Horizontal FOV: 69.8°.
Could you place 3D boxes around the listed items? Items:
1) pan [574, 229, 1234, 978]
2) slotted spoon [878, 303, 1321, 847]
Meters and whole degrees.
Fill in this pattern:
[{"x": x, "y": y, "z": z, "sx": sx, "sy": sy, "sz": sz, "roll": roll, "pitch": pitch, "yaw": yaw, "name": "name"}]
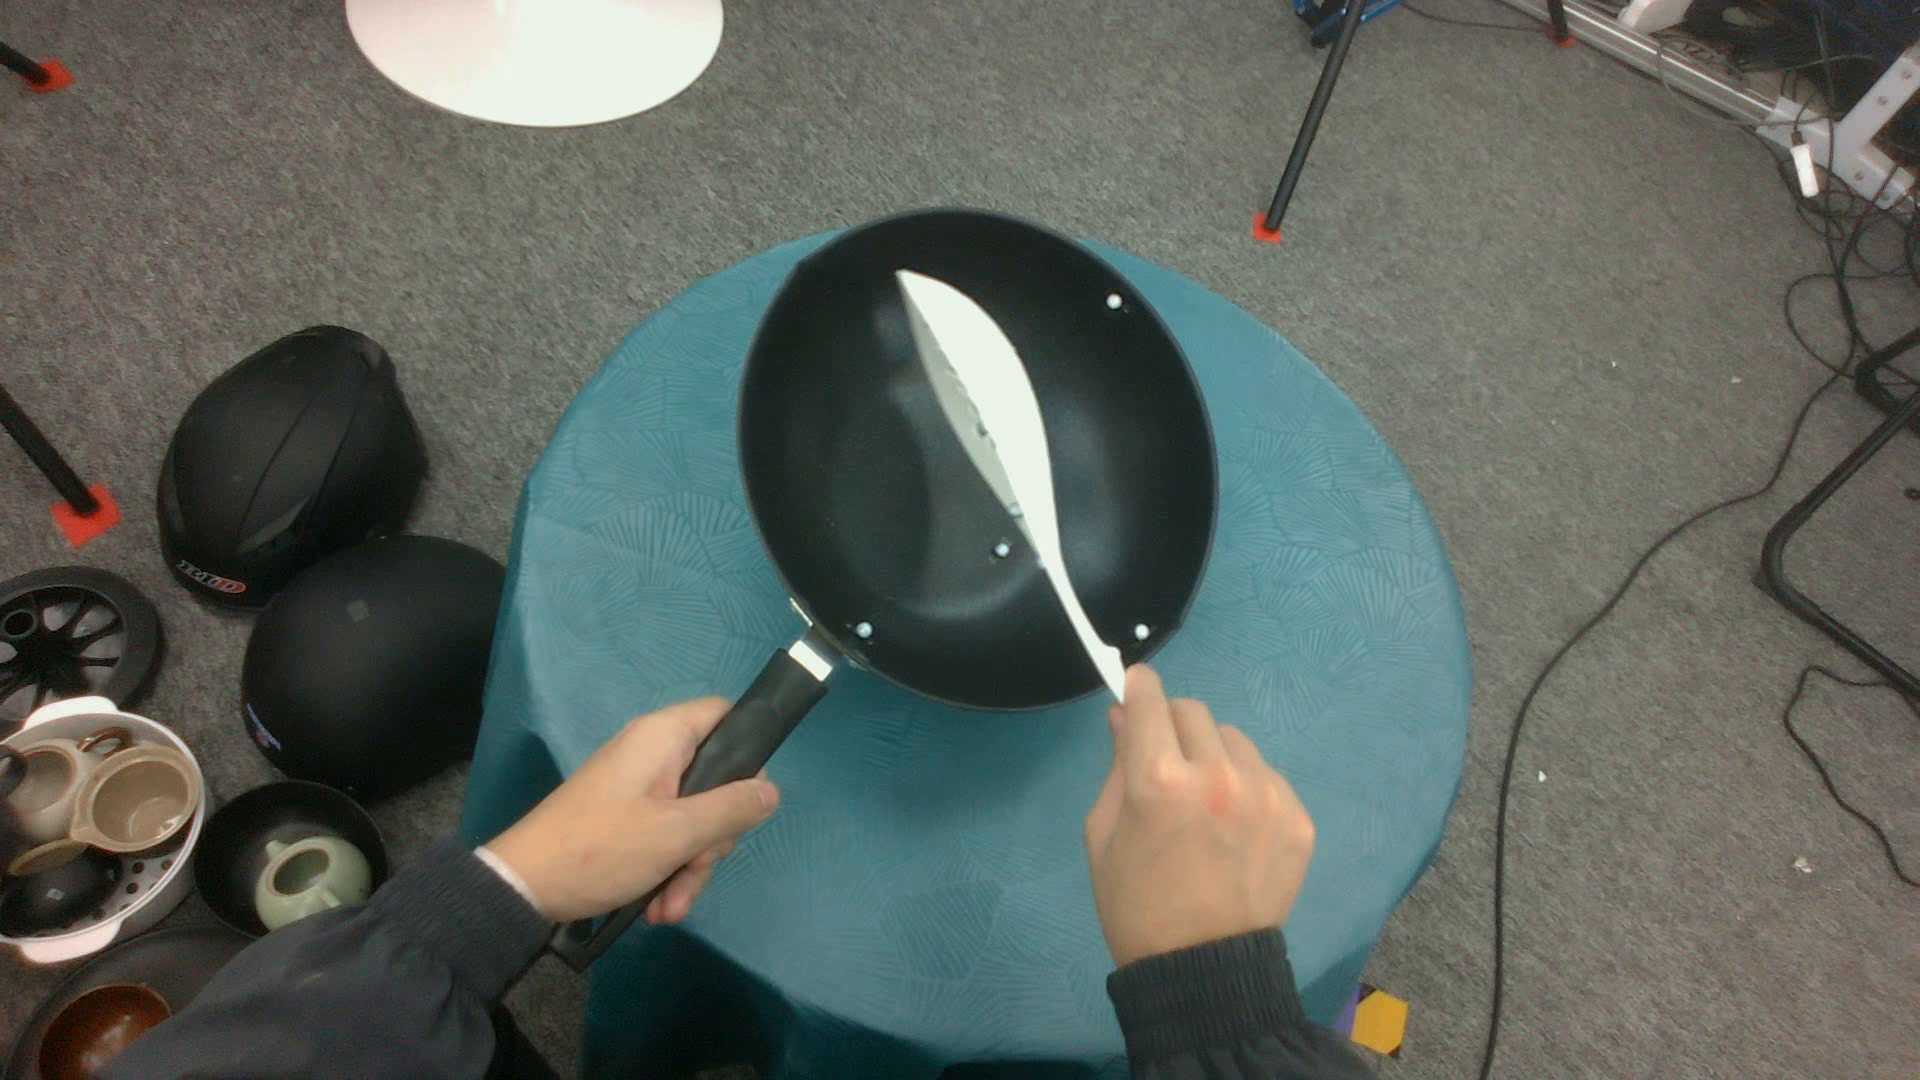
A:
[{"x": -0.040, "y": 0.037, "z": 0.745, "sx": 0.288, "sy": 0.086, "sz": 0.465, "roll": 40, "pitch": 67, "yaw": -6, "name": "pan"}, {"x": 0.060, "y": 0.012, "z": 0.688, "sx": 0.050, "sy": 0.136, "sz": 0.348, "roll": -29, "pitch": 67, "yaw": -3, "name": "slotted spoon"}]
